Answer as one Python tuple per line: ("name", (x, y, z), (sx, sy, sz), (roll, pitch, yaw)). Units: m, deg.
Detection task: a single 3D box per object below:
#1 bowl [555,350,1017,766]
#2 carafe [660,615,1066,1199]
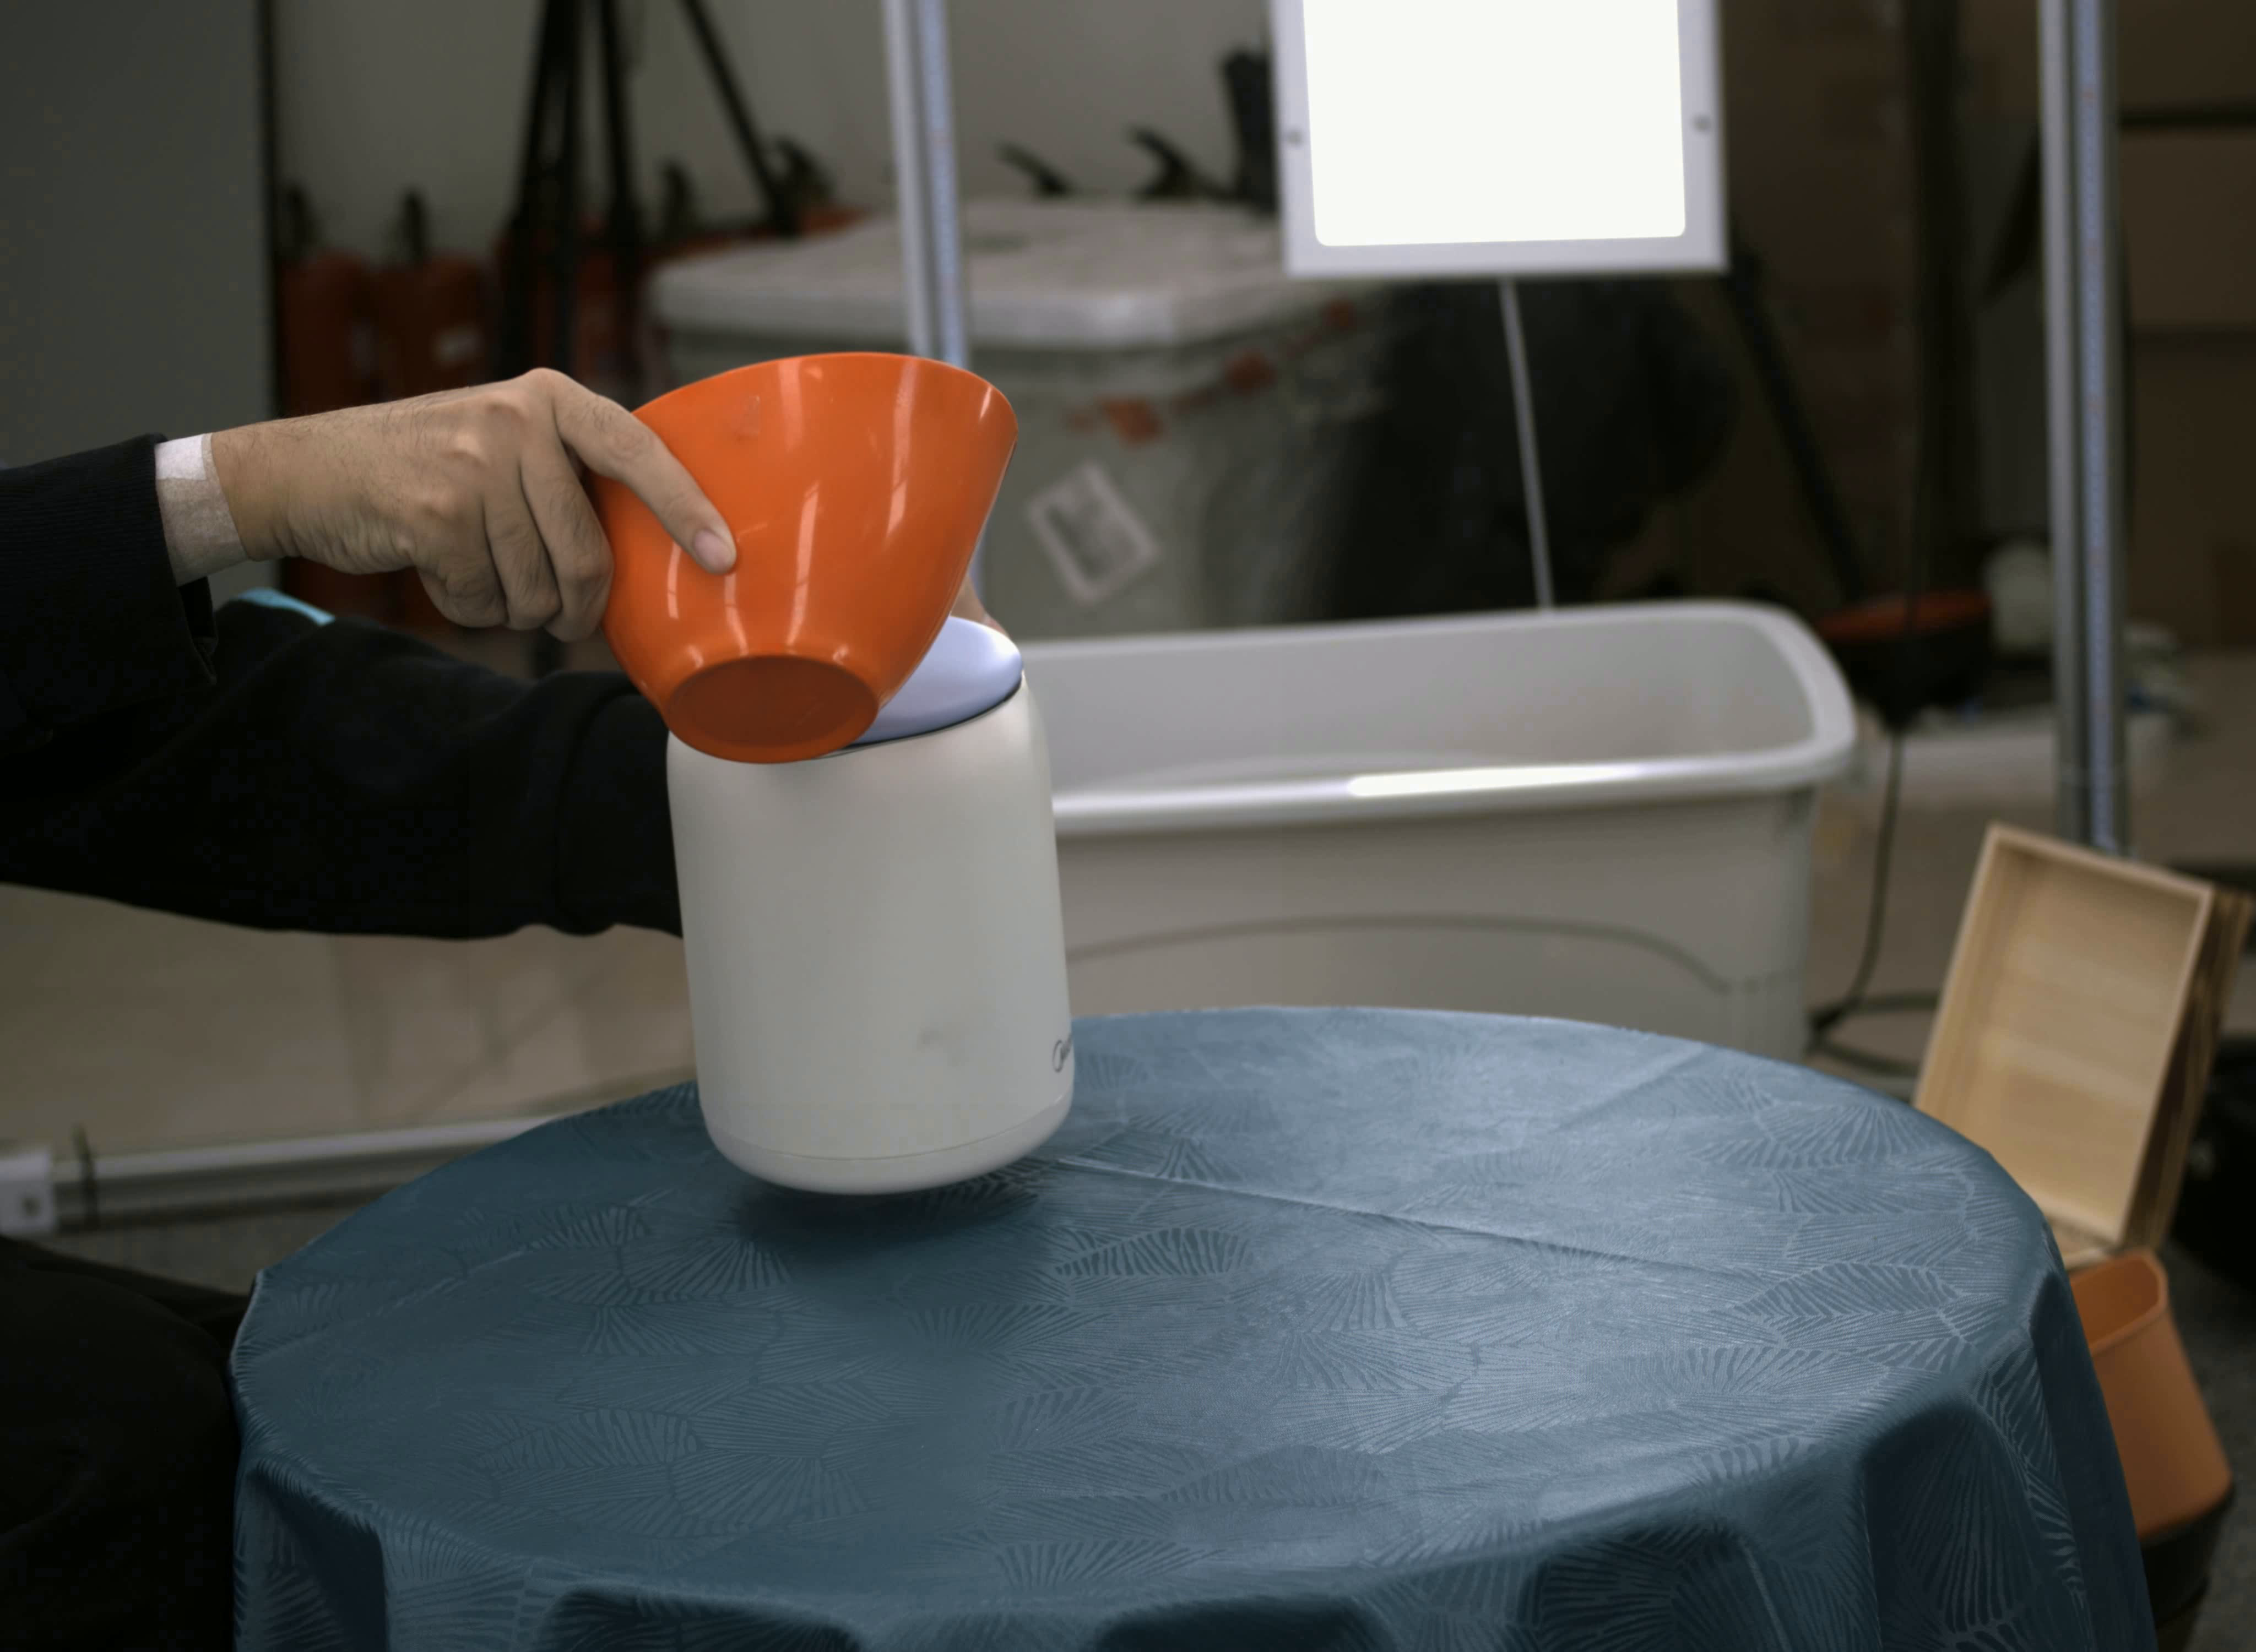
("bowl", (-0.105, -0.077, 1.724), (0.147, 0.104, 0.149), (-2, -29, -2))
("carafe", (-0.086, 0.018, 1.913), (0.133, 0.183, 0.189), (1, 20, 11))
